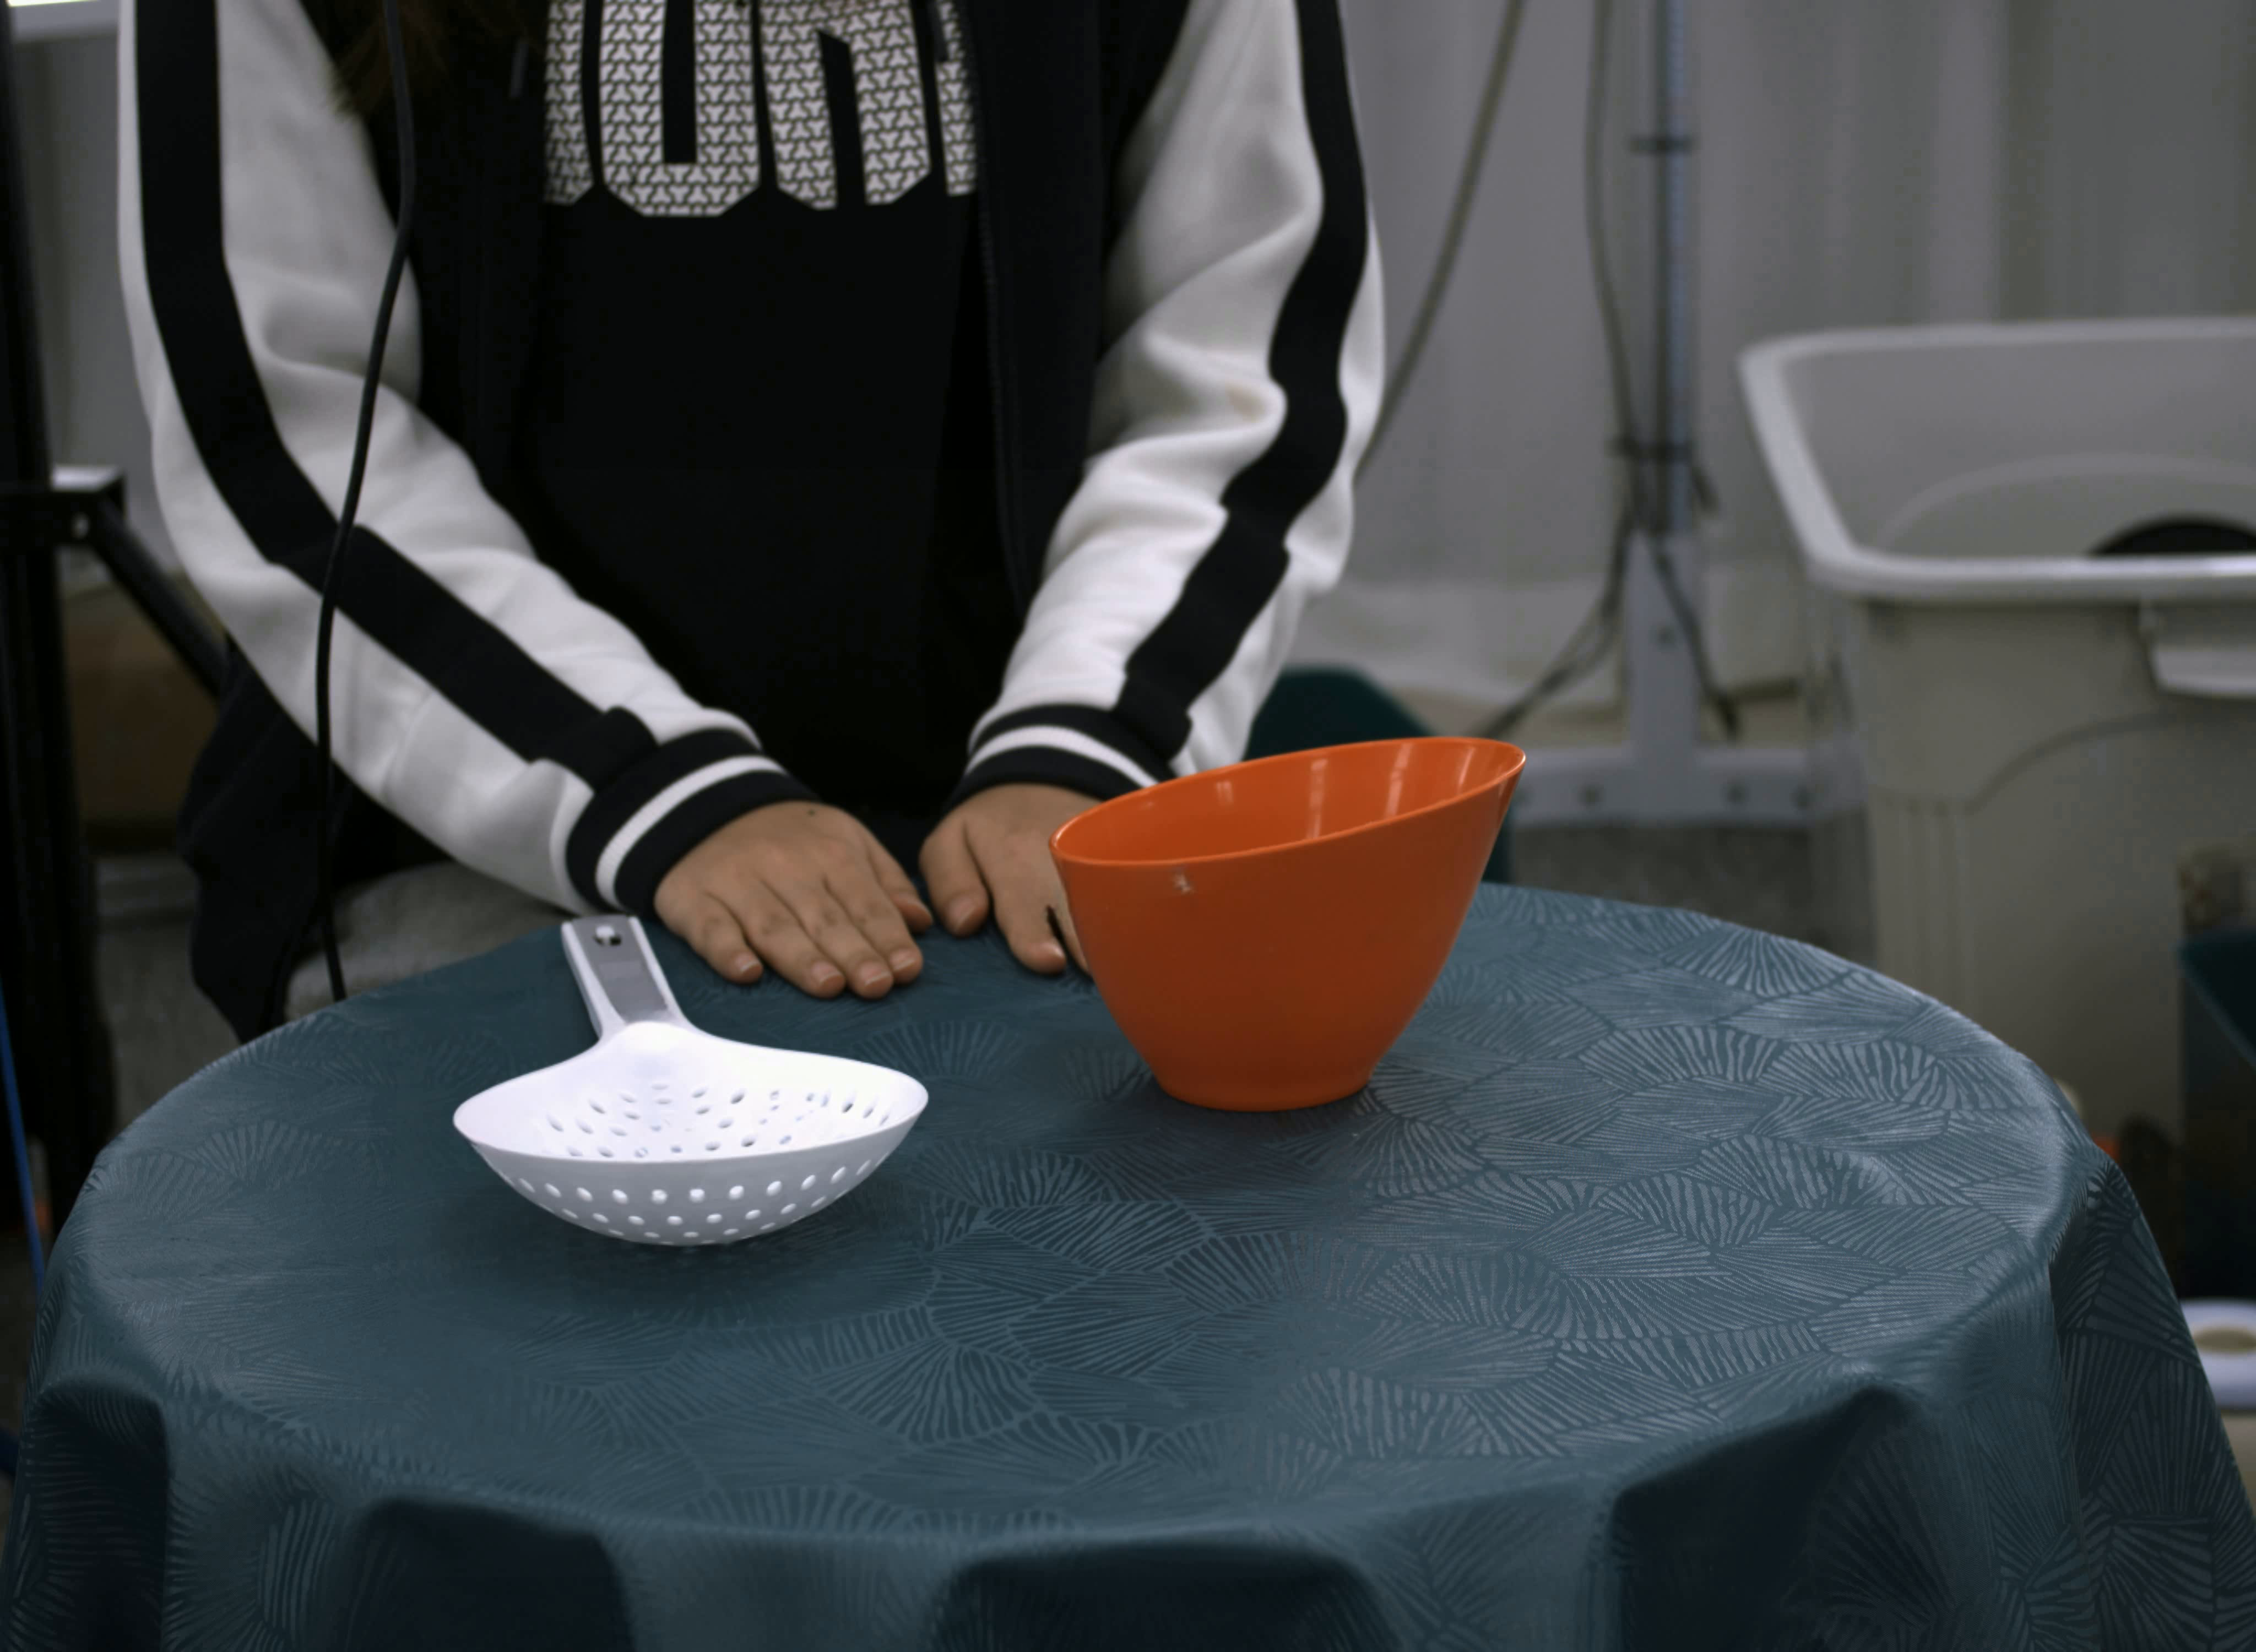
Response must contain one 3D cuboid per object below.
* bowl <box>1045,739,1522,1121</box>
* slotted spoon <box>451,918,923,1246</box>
[{"bbox_3d":[0.050,0.033,1.634,0.147,0.104,0.149,-4,16,0],"label":"bowl"},{"bbox_3d":[-0.146,0.069,1.638,0.134,0.046,0.354,-4,15,-10],"label":"slotted spoon"}]
